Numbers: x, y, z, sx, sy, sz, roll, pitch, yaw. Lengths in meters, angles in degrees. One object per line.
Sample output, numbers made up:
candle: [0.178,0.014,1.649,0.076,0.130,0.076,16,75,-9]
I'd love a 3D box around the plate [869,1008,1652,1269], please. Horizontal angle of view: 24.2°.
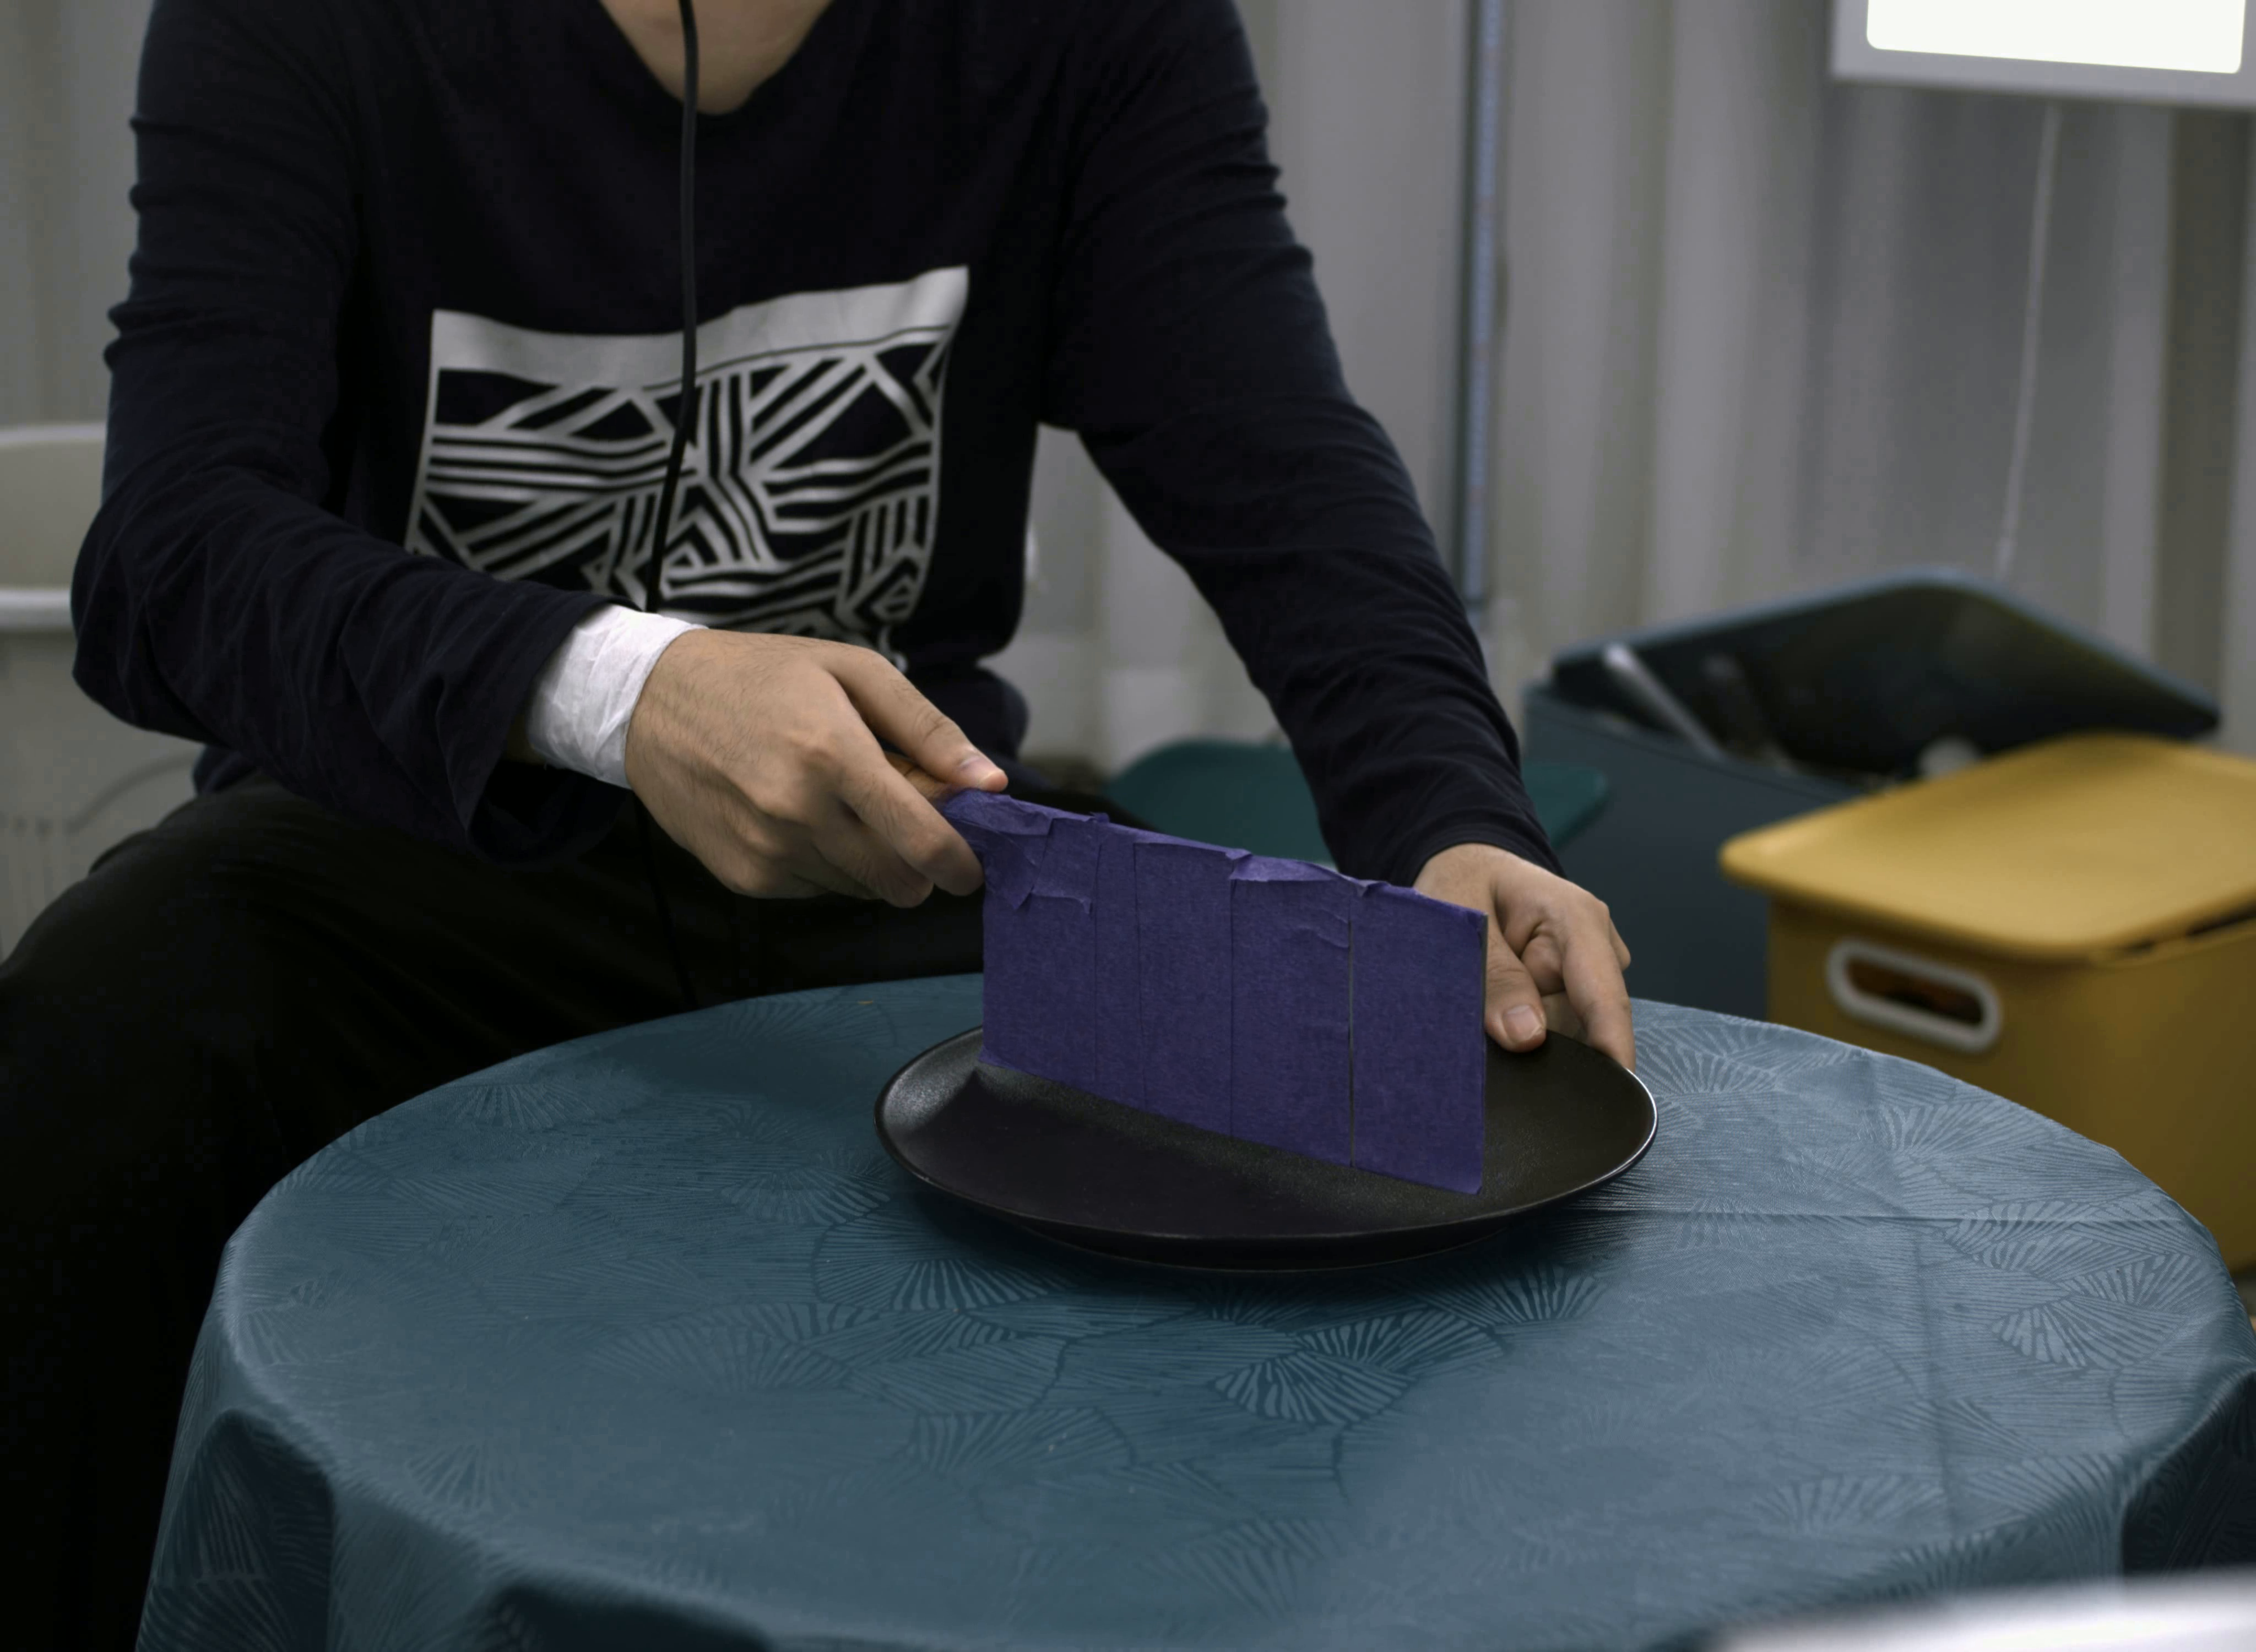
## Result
plate: [0.041,0.096,1.638,0.243,0.023,0.243,0,16,0]

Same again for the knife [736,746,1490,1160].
knife: [-0.010,0.040,1.644,0.311,0.104,0.032,13,17,43]
